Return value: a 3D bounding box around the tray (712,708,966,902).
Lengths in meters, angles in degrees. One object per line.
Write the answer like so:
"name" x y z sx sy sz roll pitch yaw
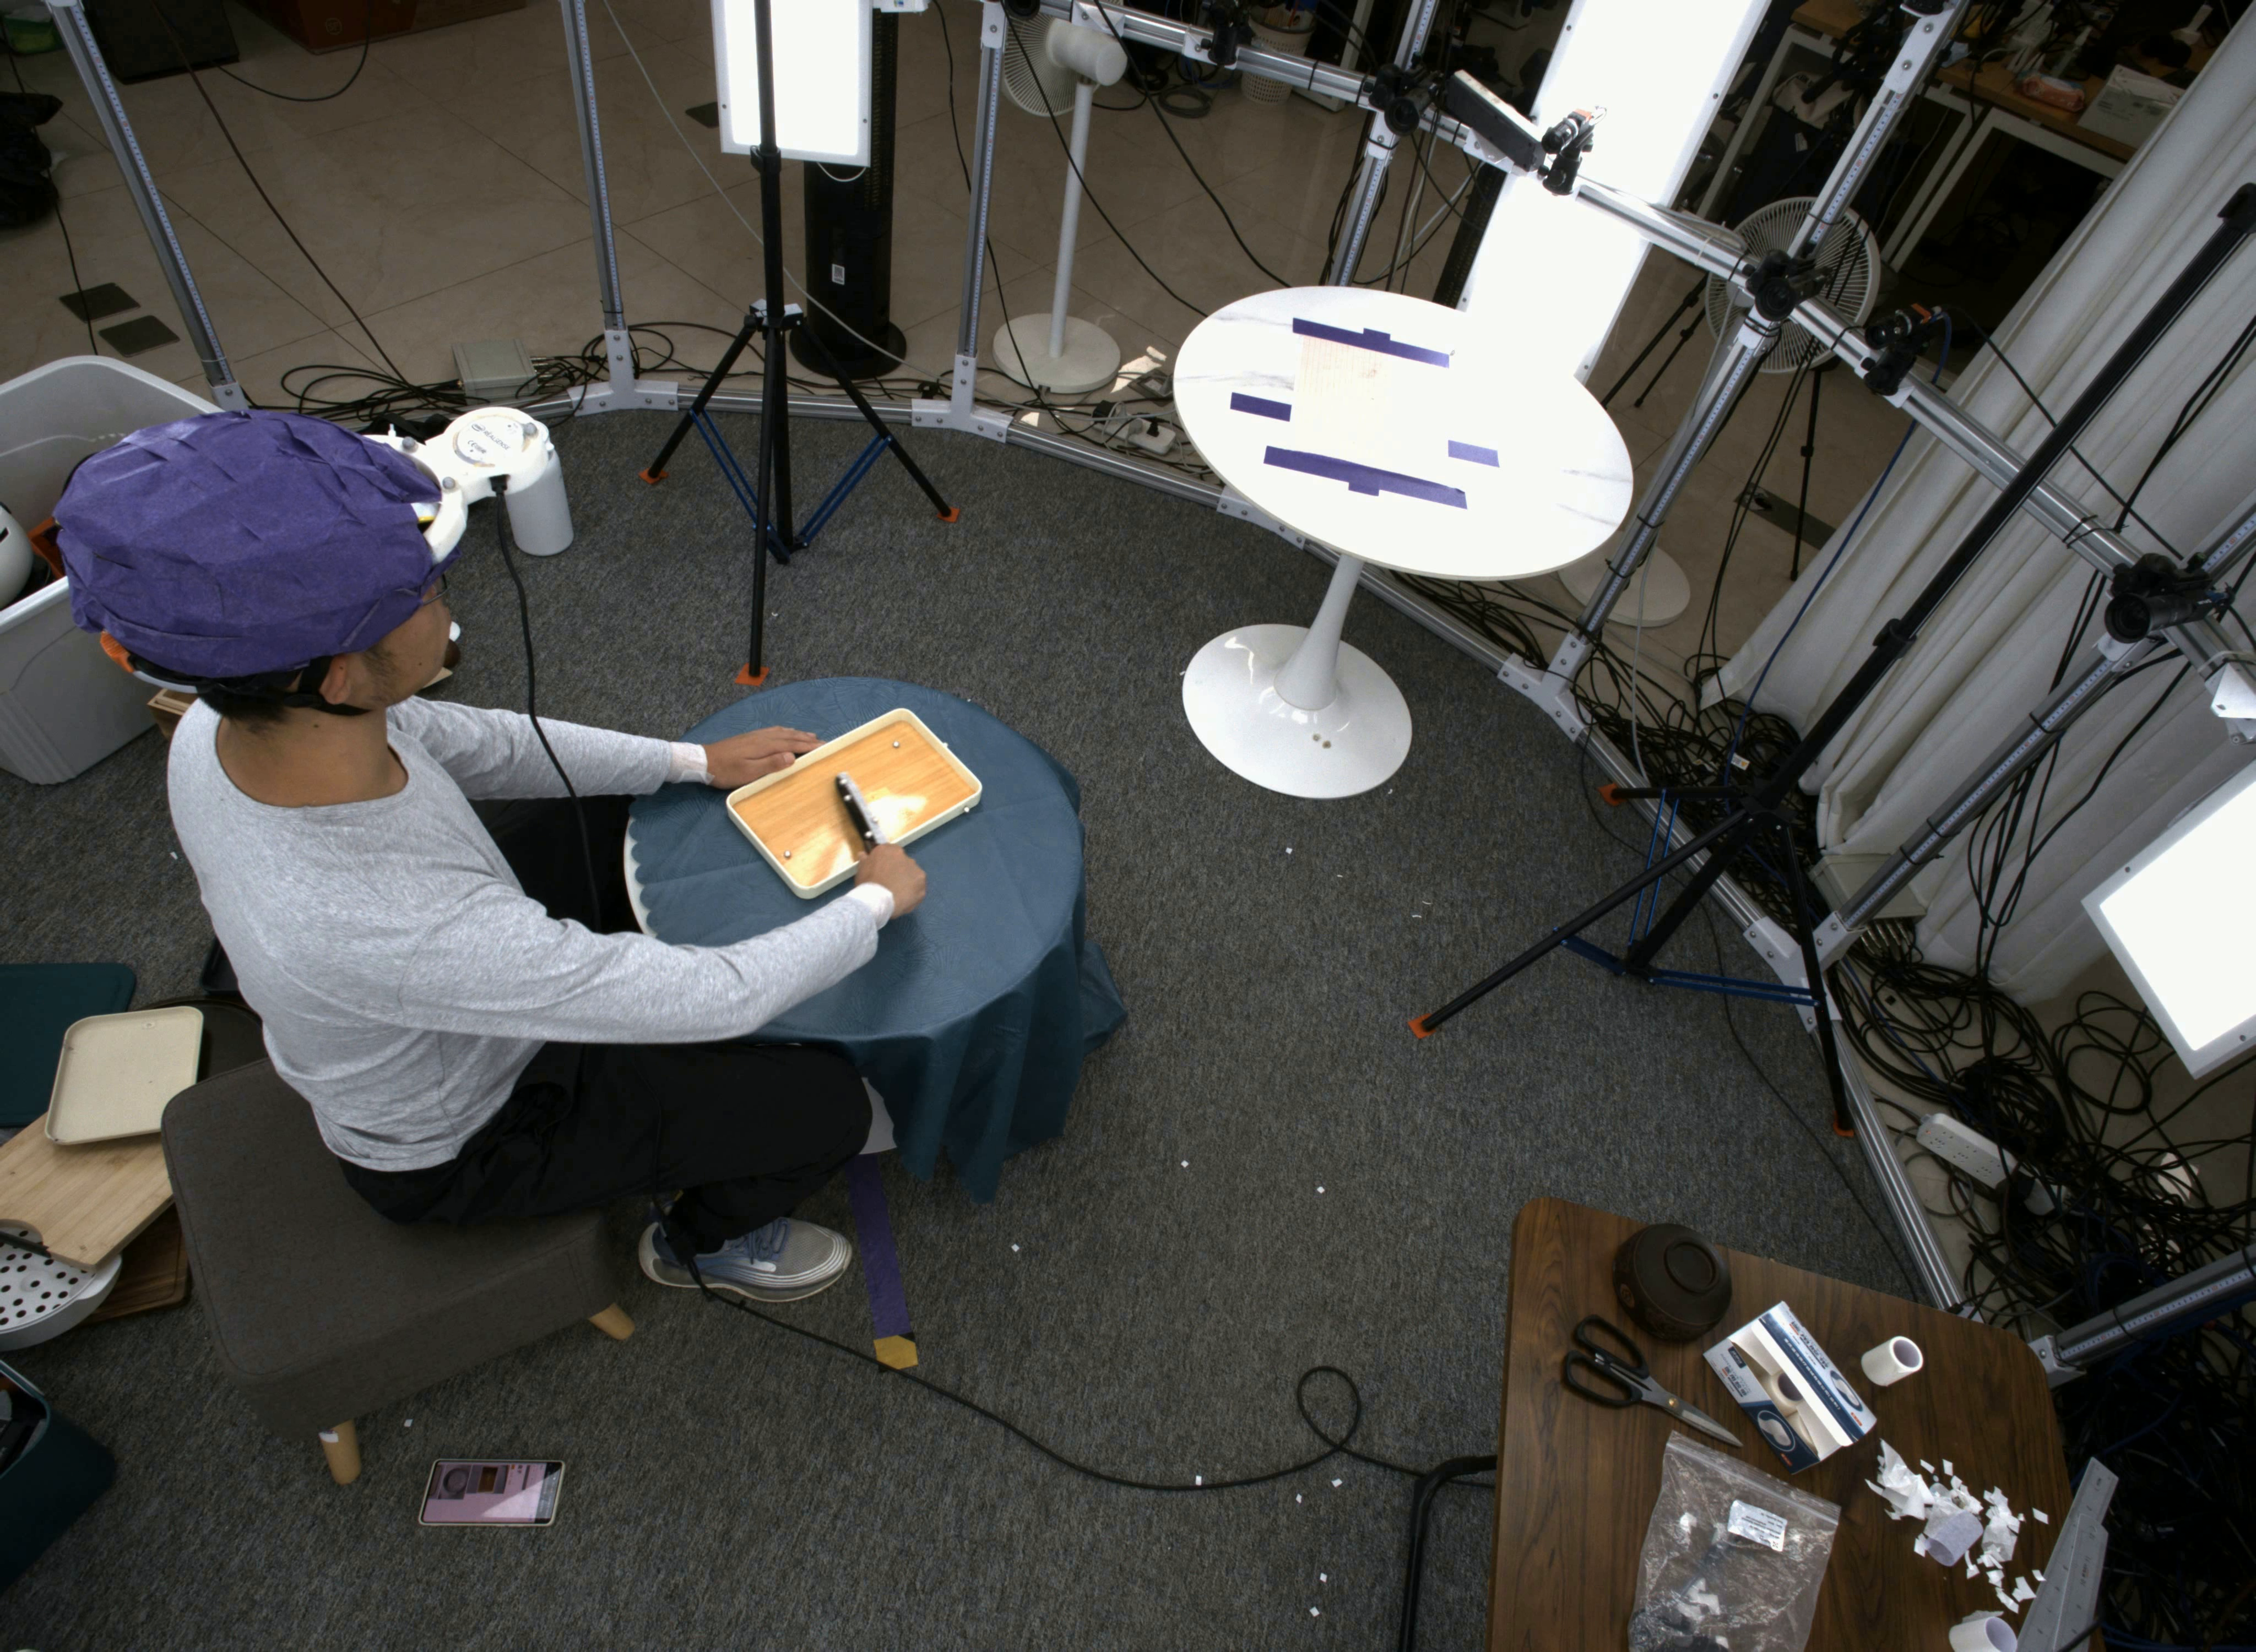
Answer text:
"tray" -0.387 -0.035 1.754 0.301 0.028 0.187 -34 68 -32

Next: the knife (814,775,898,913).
"knife" -0.357 0.015 1.688 0.051 0.020 0.279 17 27 -43
